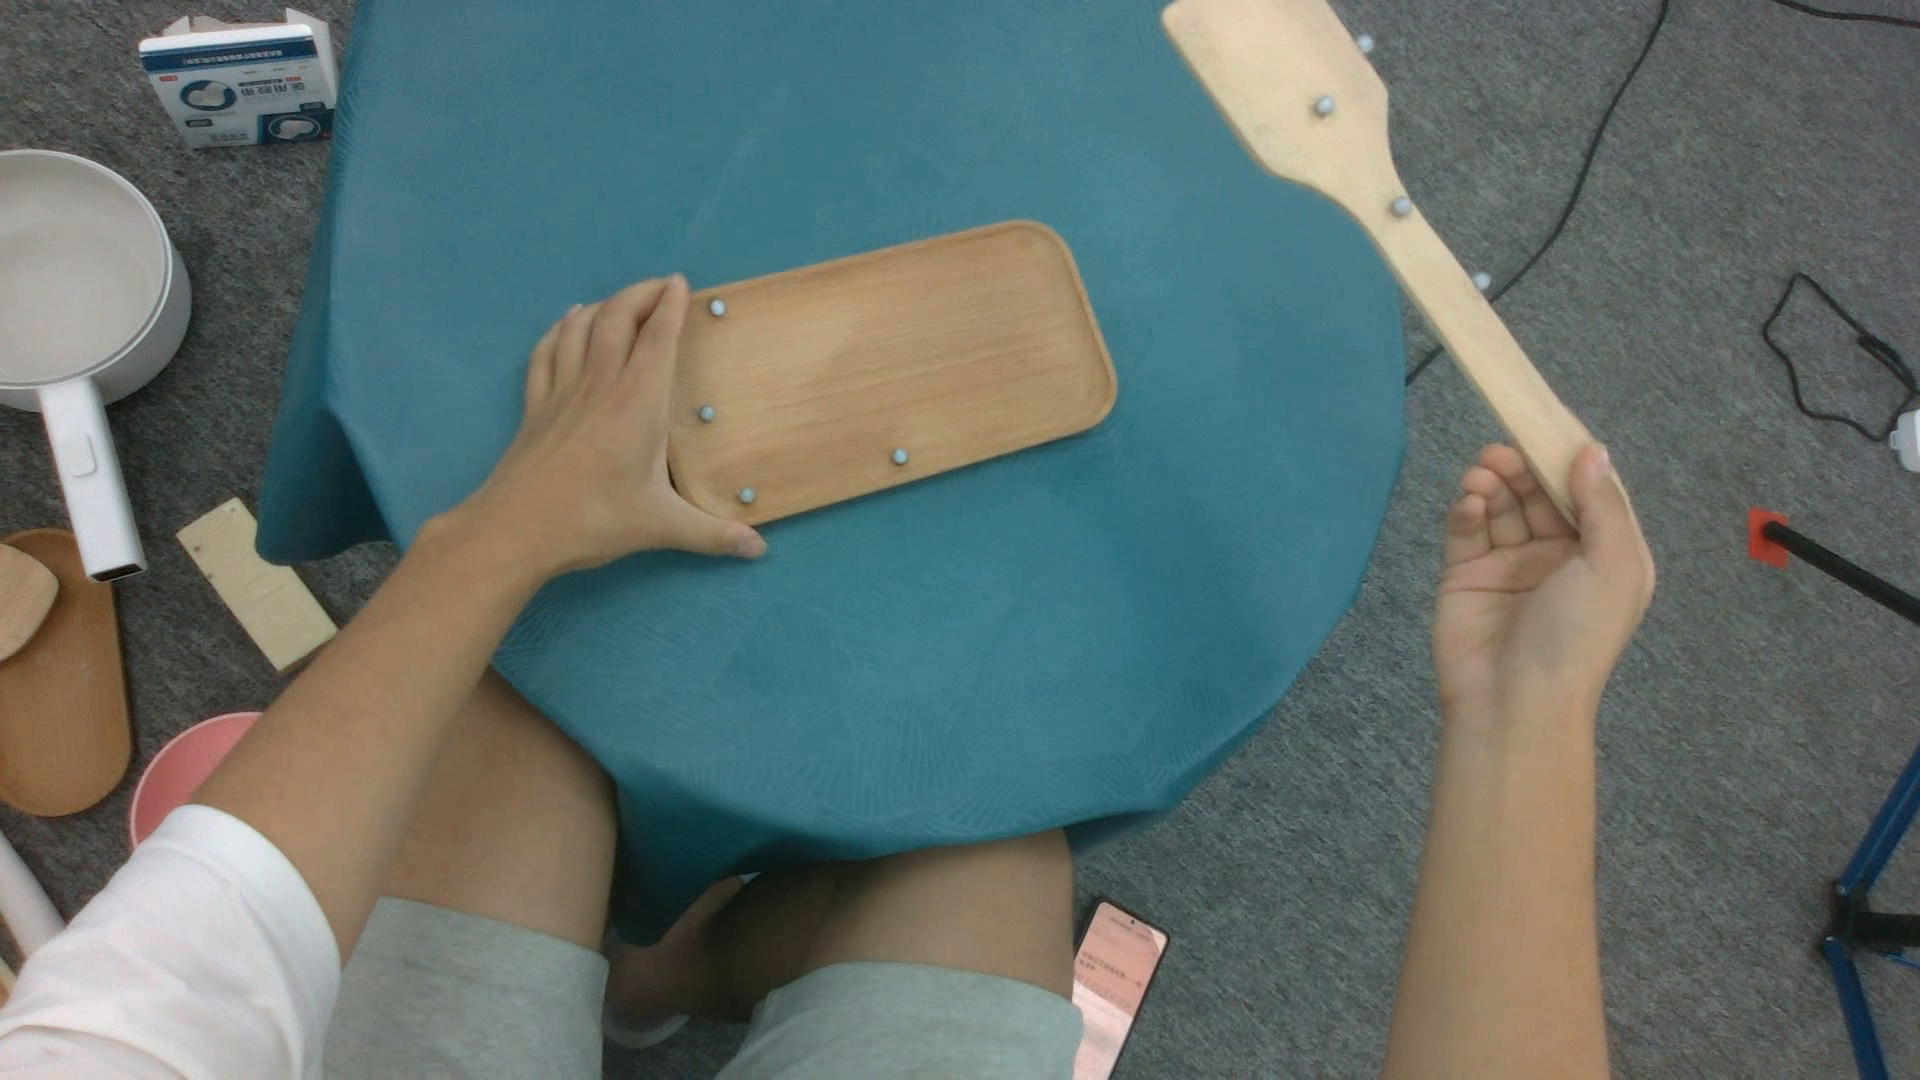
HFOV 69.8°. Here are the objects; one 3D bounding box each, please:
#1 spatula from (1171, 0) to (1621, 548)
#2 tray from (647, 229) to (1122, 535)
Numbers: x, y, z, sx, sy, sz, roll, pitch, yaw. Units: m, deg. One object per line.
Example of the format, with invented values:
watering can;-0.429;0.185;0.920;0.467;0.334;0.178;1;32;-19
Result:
spatula;0.203;-0.120;0.614;0.072;0.010;0.293;-35;88;-12
tray;-0.037;-0.089;0.752;0.251;0.023;0.130;-16;83;-18
